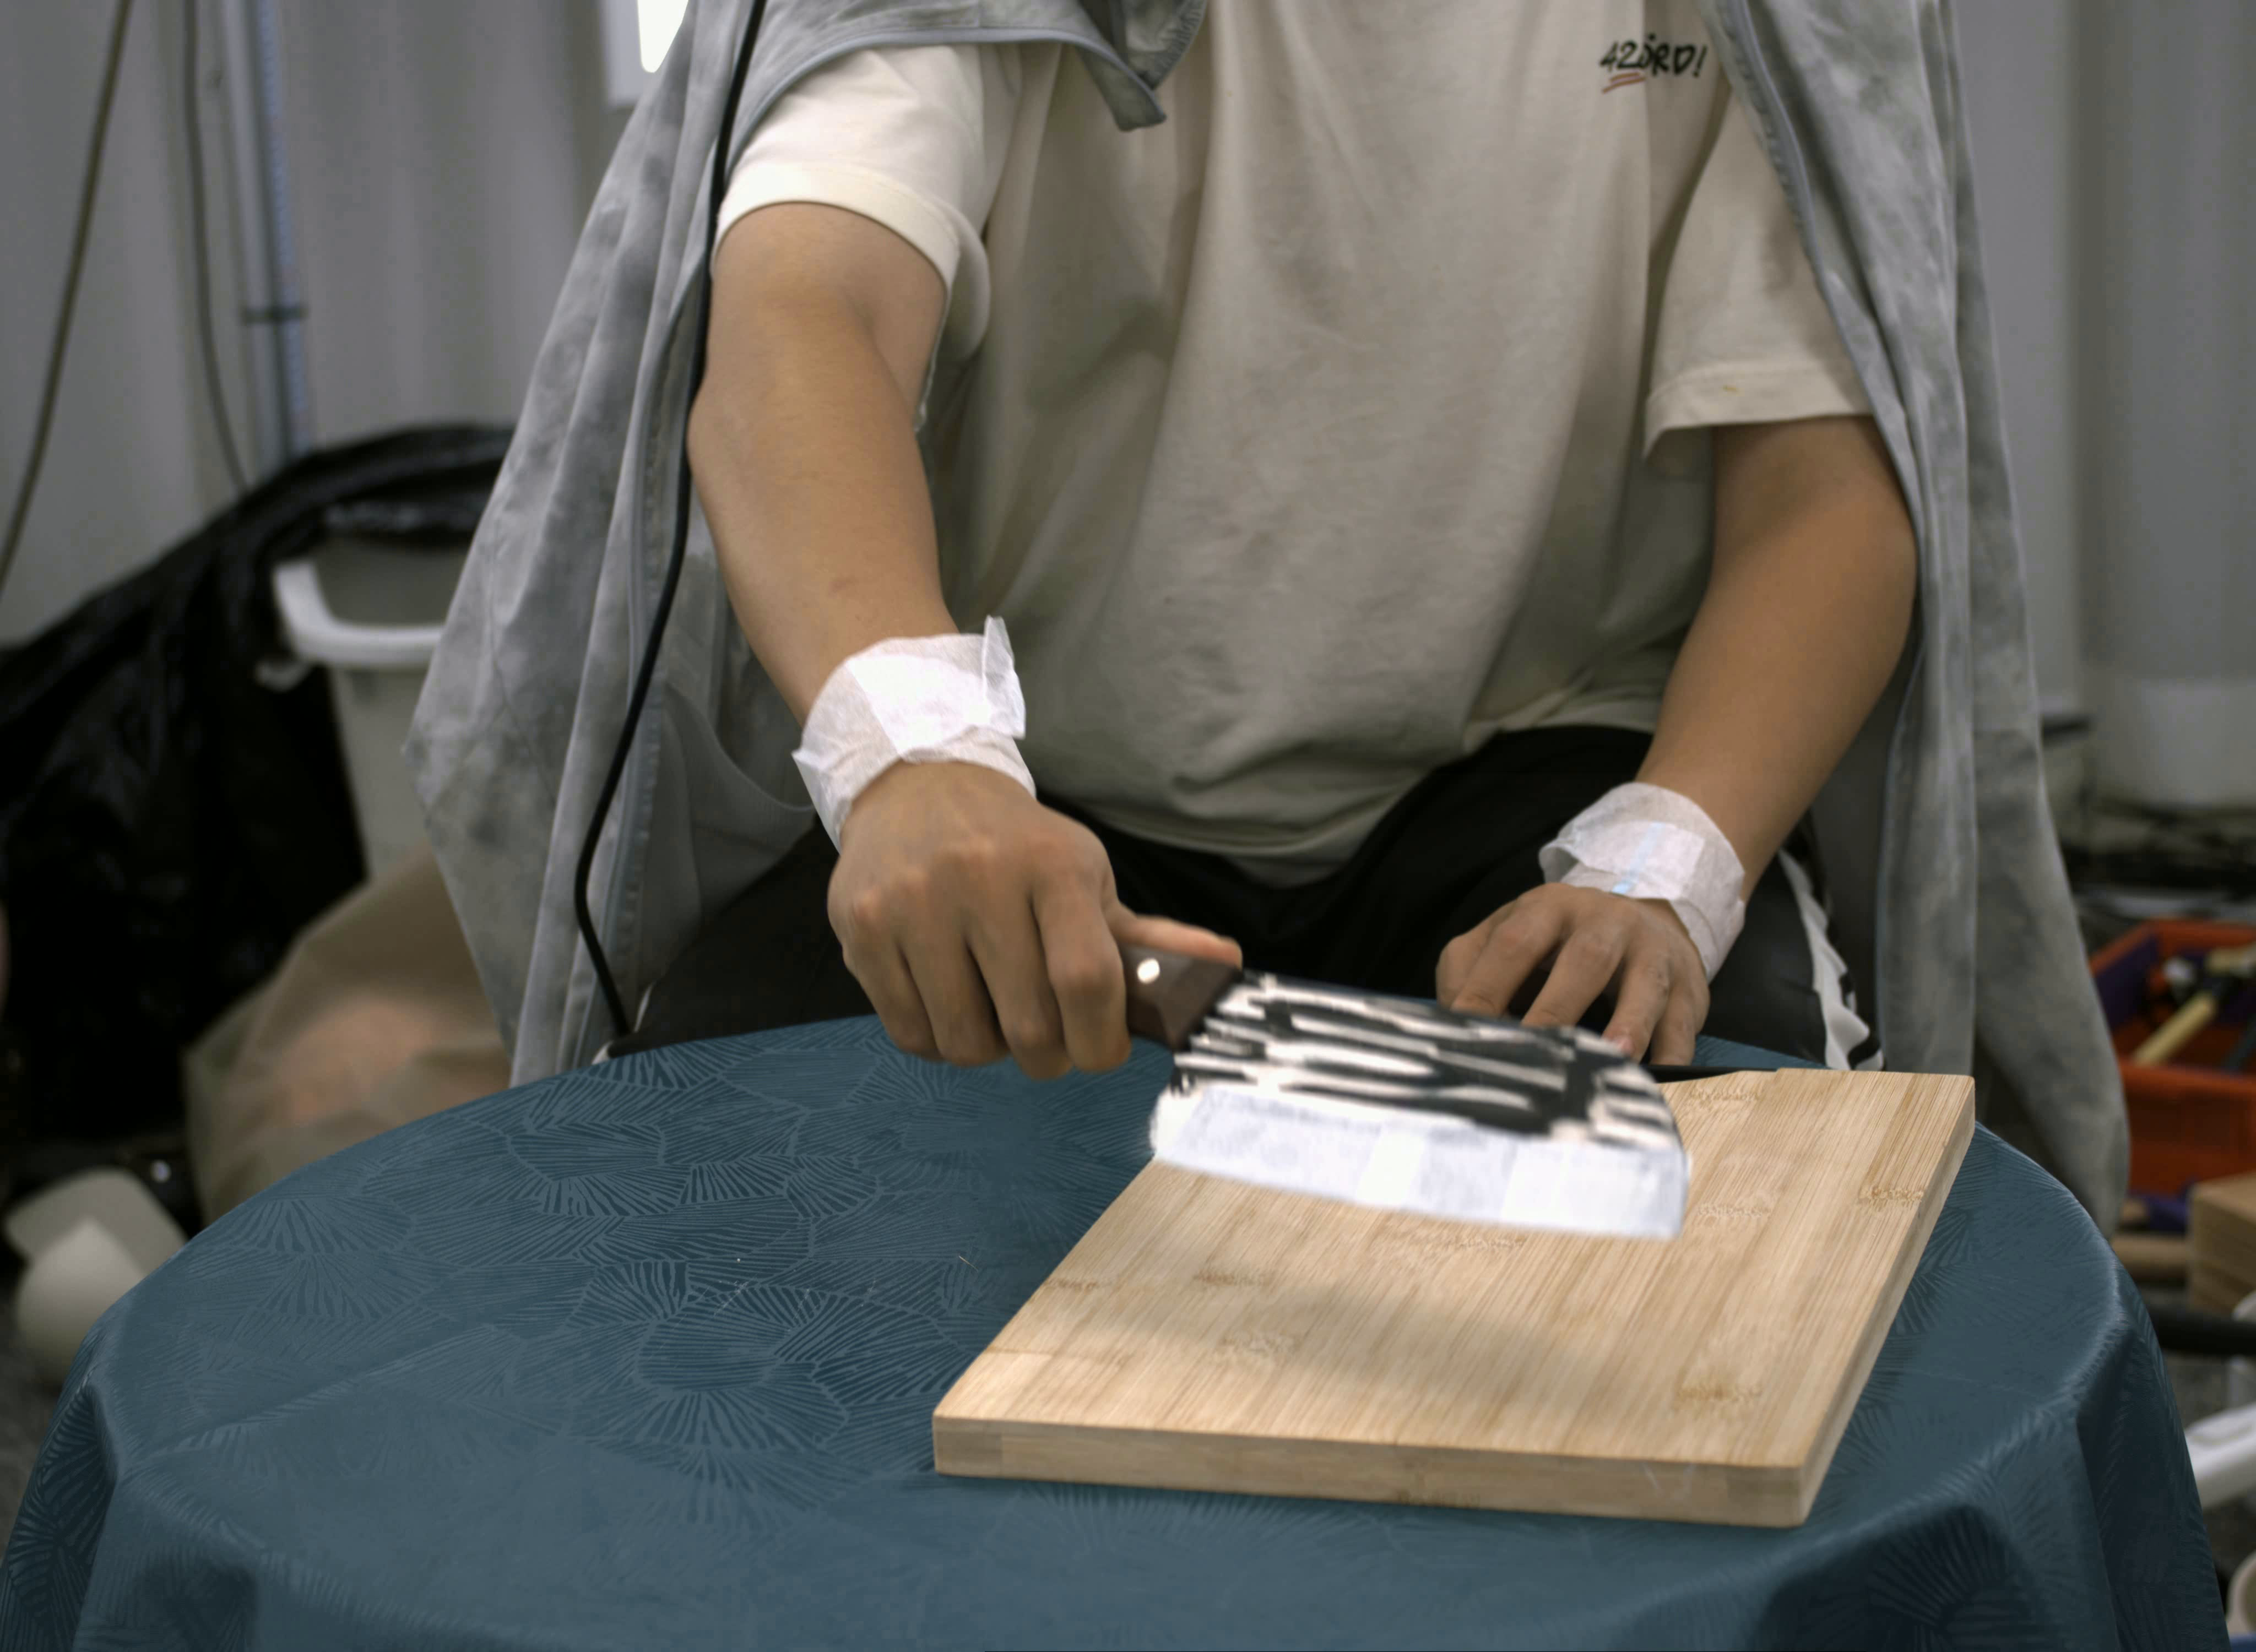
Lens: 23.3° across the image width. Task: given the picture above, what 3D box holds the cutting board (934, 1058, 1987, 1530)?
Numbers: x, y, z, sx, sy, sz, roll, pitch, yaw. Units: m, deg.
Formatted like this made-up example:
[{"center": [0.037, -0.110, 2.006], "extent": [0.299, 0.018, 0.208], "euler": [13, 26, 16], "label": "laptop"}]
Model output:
[{"center": [0.109, 0.128, 1.618], "extent": [0.250, 0.023, 0.350], "euler": [2, 15, 15], "label": "cutting board"}]

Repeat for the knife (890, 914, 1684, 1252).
[{"center": [0.037, 0.071, 1.531], "extent": [0.301, 0.023, 0.068], "euler": [11, 57, 38], "label": "knife"}]
